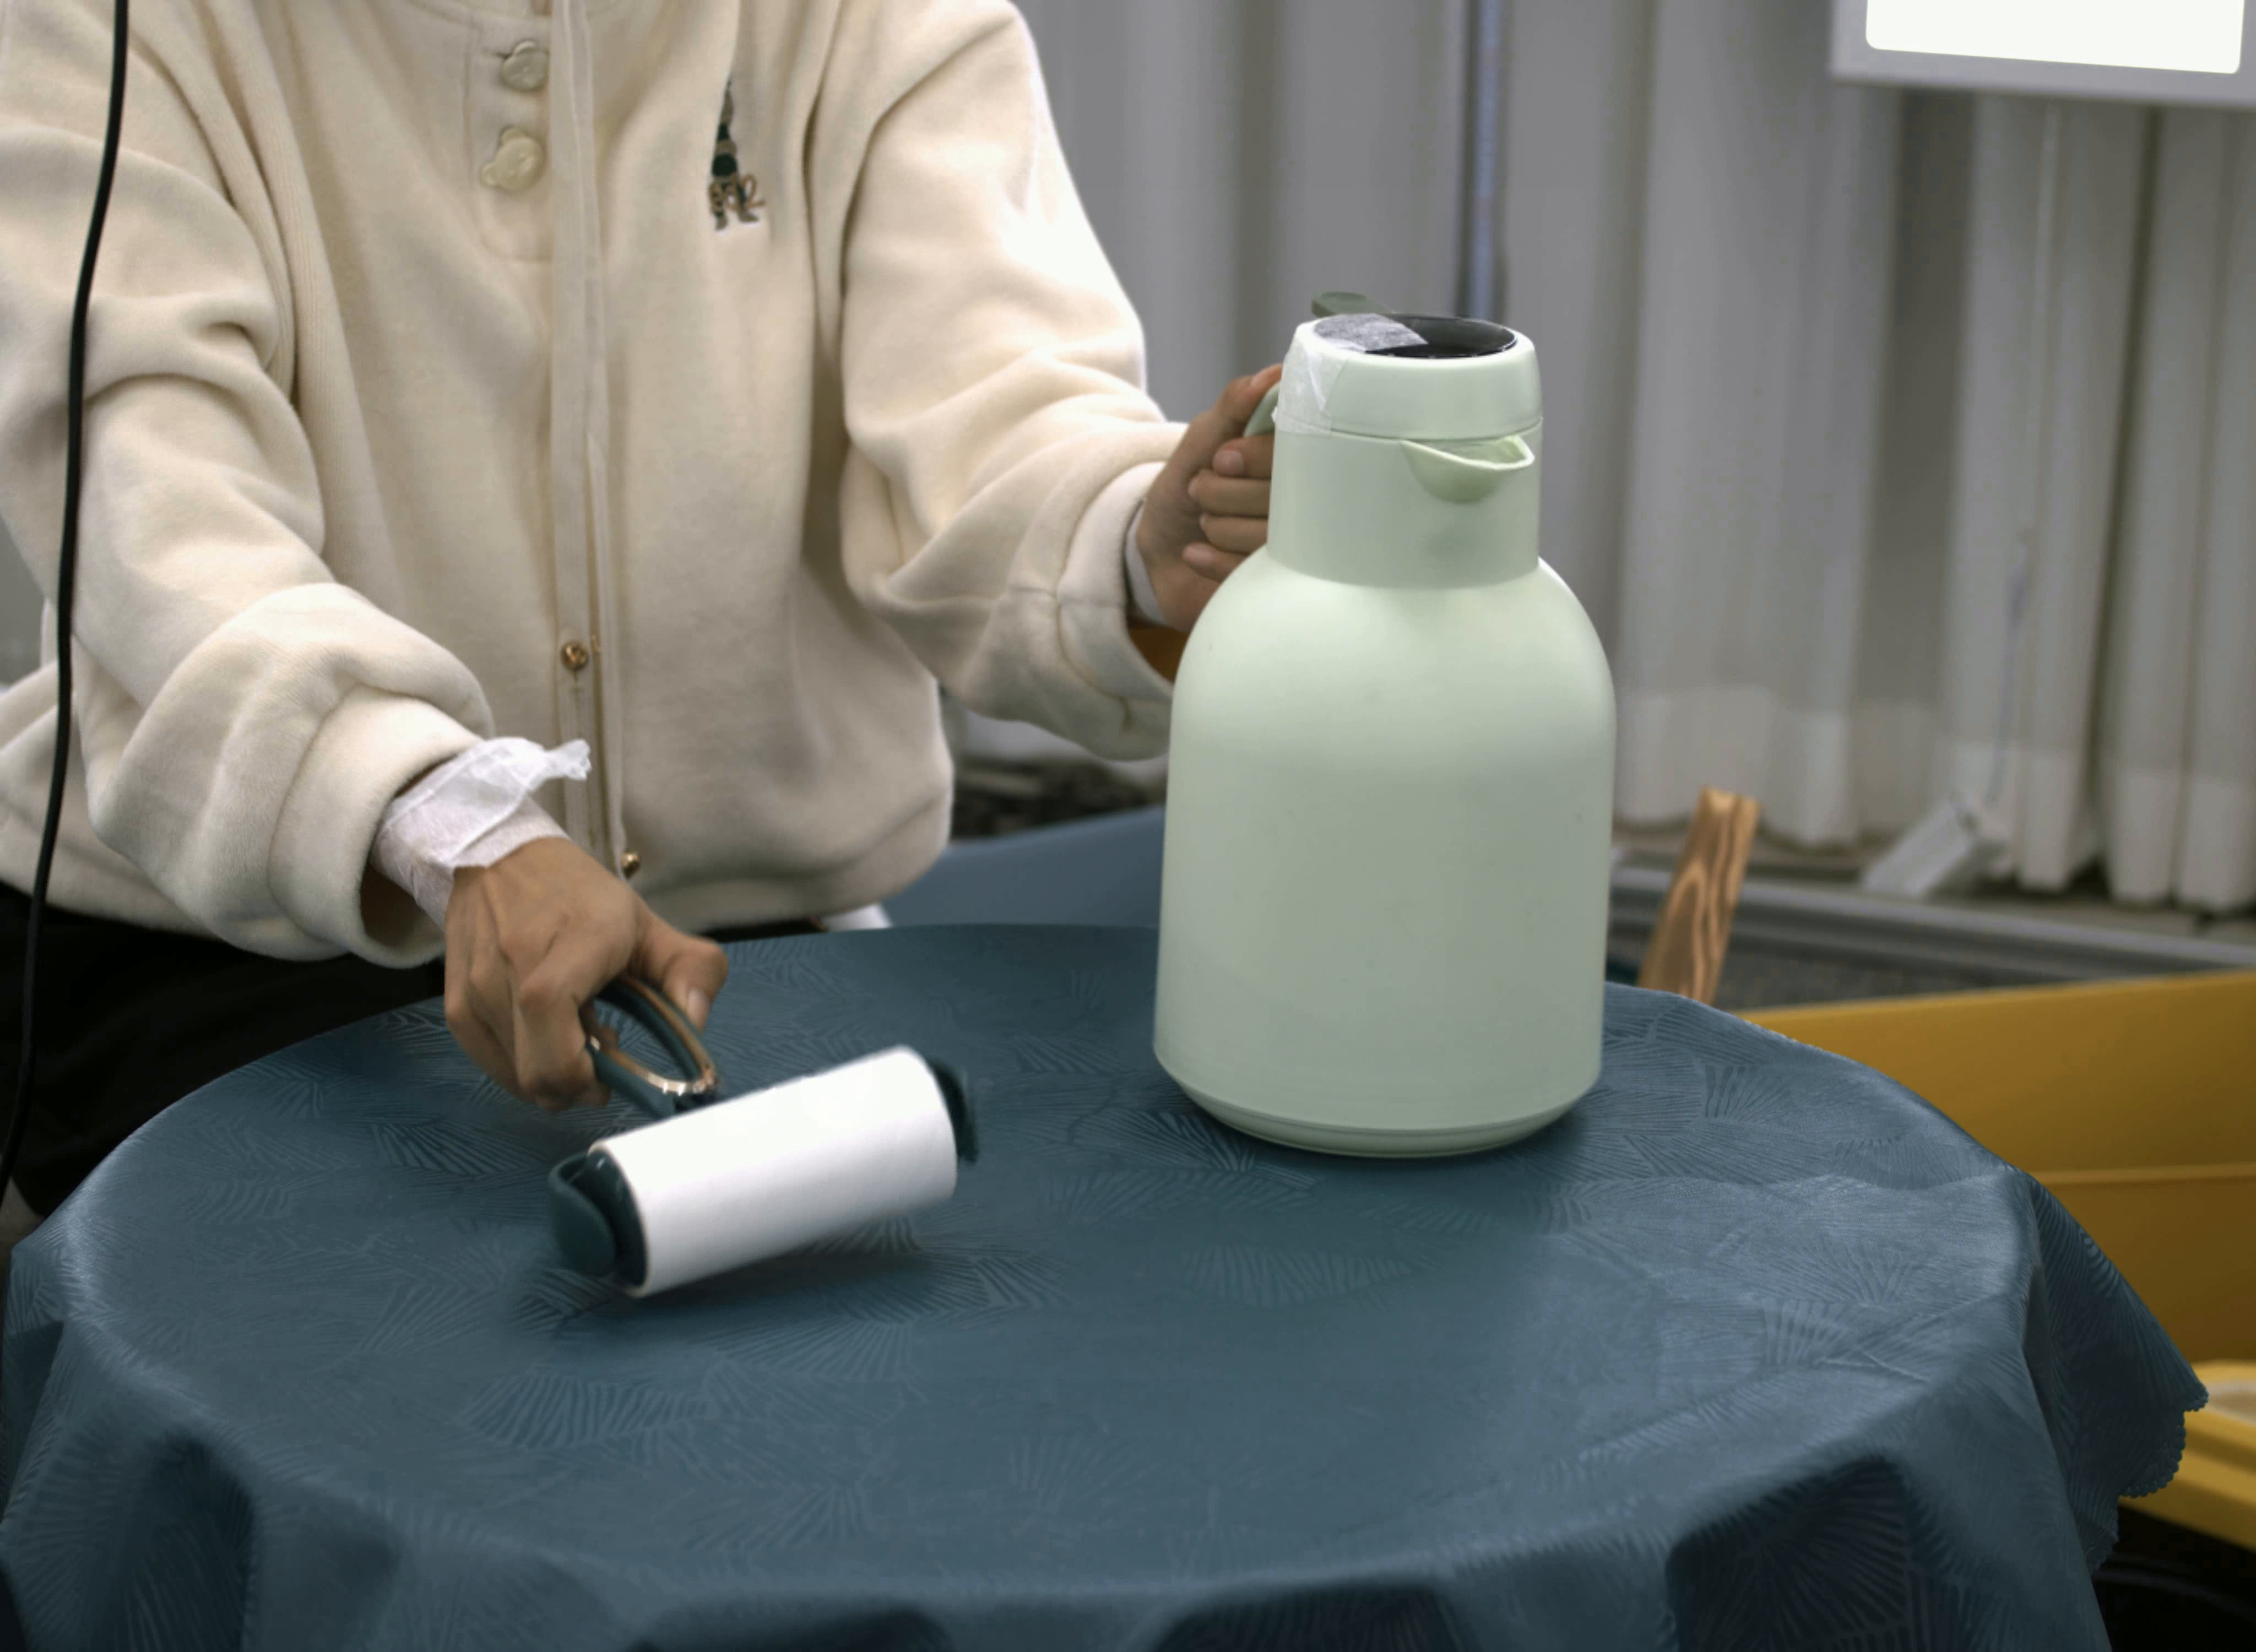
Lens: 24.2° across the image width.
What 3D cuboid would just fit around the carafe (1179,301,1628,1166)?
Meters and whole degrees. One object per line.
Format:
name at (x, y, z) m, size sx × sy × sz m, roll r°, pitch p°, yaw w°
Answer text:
carafe at (0.083, -0.035, 1.678) m, size 0.144 × 0.259 × 0.185 m, roll -7°, pitch 16°, yaw -20°

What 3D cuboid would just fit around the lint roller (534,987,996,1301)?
lint roller at (-0.136, 0.074, 1.585) m, size 0.135 × 0.049 × 0.177 m, roll -13°, pitch 33°, yaw -24°
